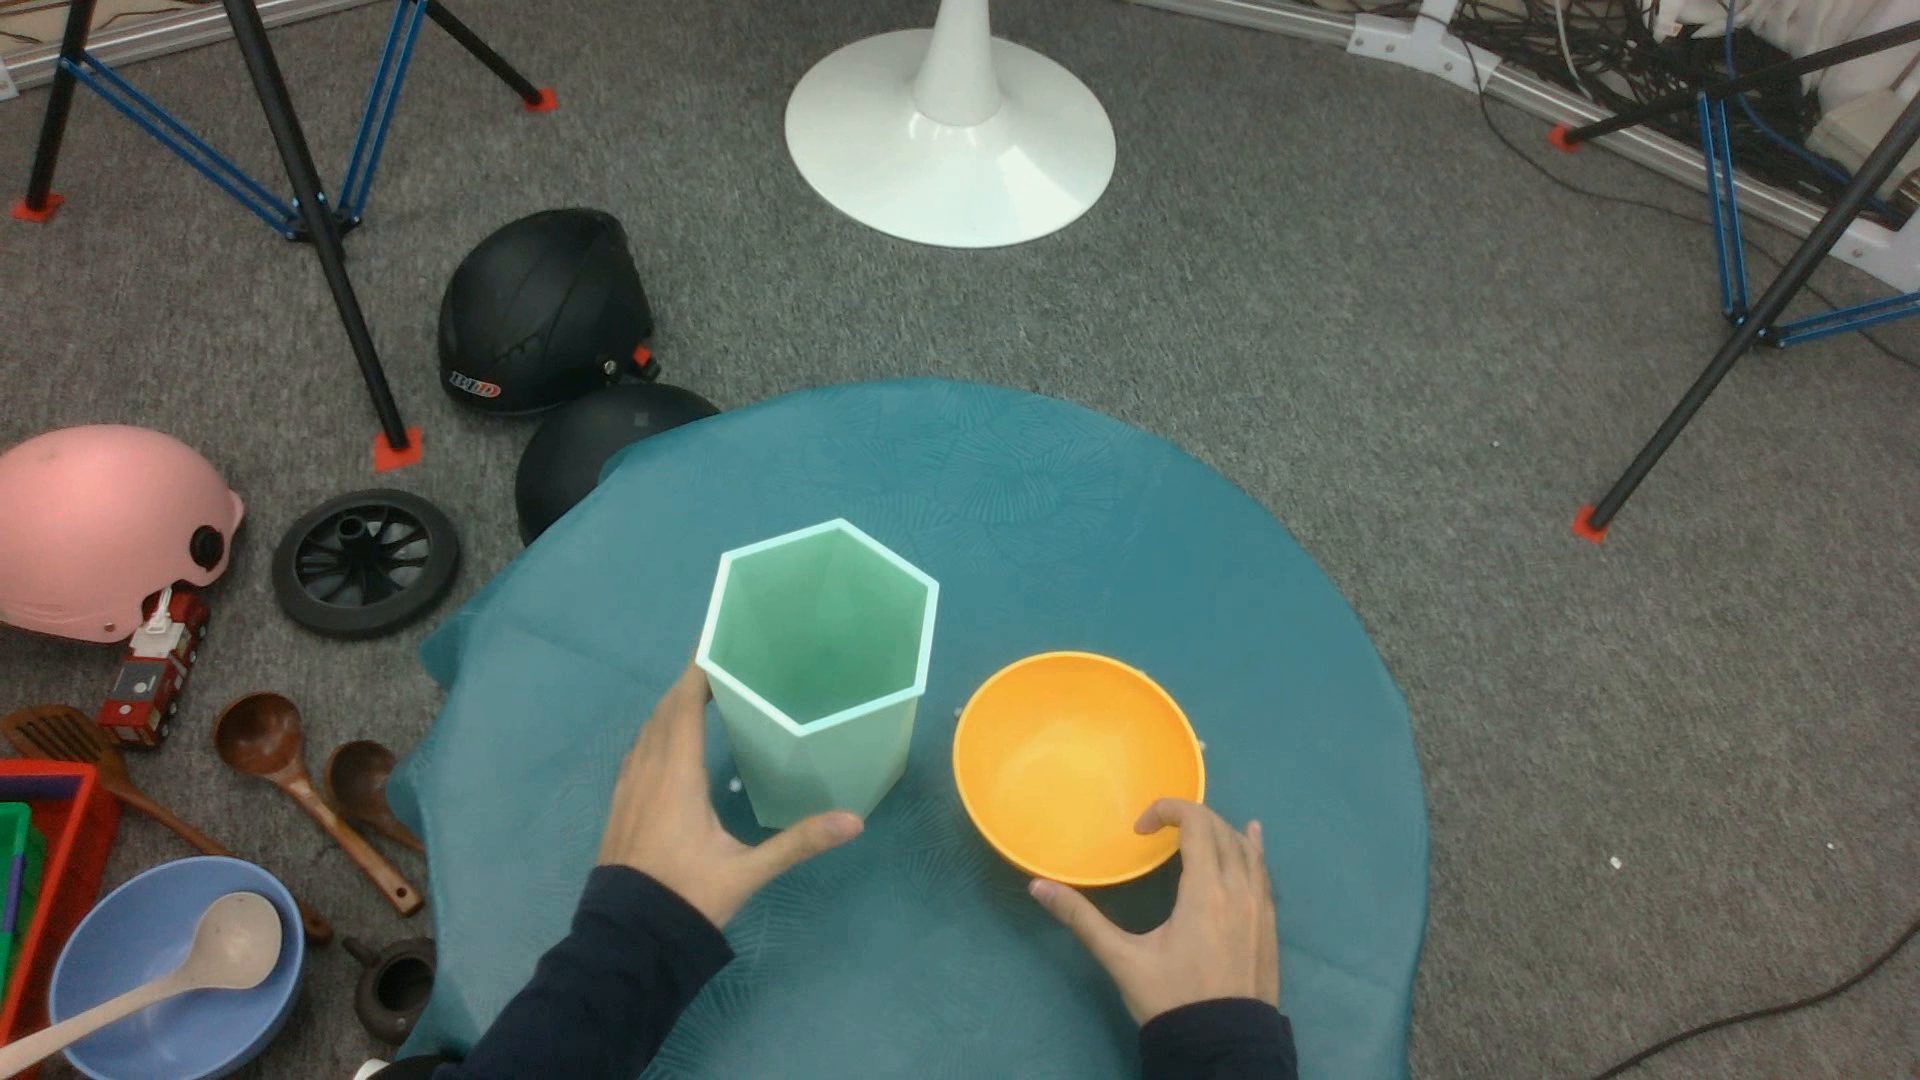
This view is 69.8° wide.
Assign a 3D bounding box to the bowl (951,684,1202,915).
[{"bbox_3d":[0.066,0.161,0.813,0.145,0.060,0.146,2,53,-2],"label":"bowl"}]

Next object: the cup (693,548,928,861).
[{"bbox_3d":[-0.079,0.103,0.773,0.131,0.162,0.116,28,57,16],"label":"cup"}]
